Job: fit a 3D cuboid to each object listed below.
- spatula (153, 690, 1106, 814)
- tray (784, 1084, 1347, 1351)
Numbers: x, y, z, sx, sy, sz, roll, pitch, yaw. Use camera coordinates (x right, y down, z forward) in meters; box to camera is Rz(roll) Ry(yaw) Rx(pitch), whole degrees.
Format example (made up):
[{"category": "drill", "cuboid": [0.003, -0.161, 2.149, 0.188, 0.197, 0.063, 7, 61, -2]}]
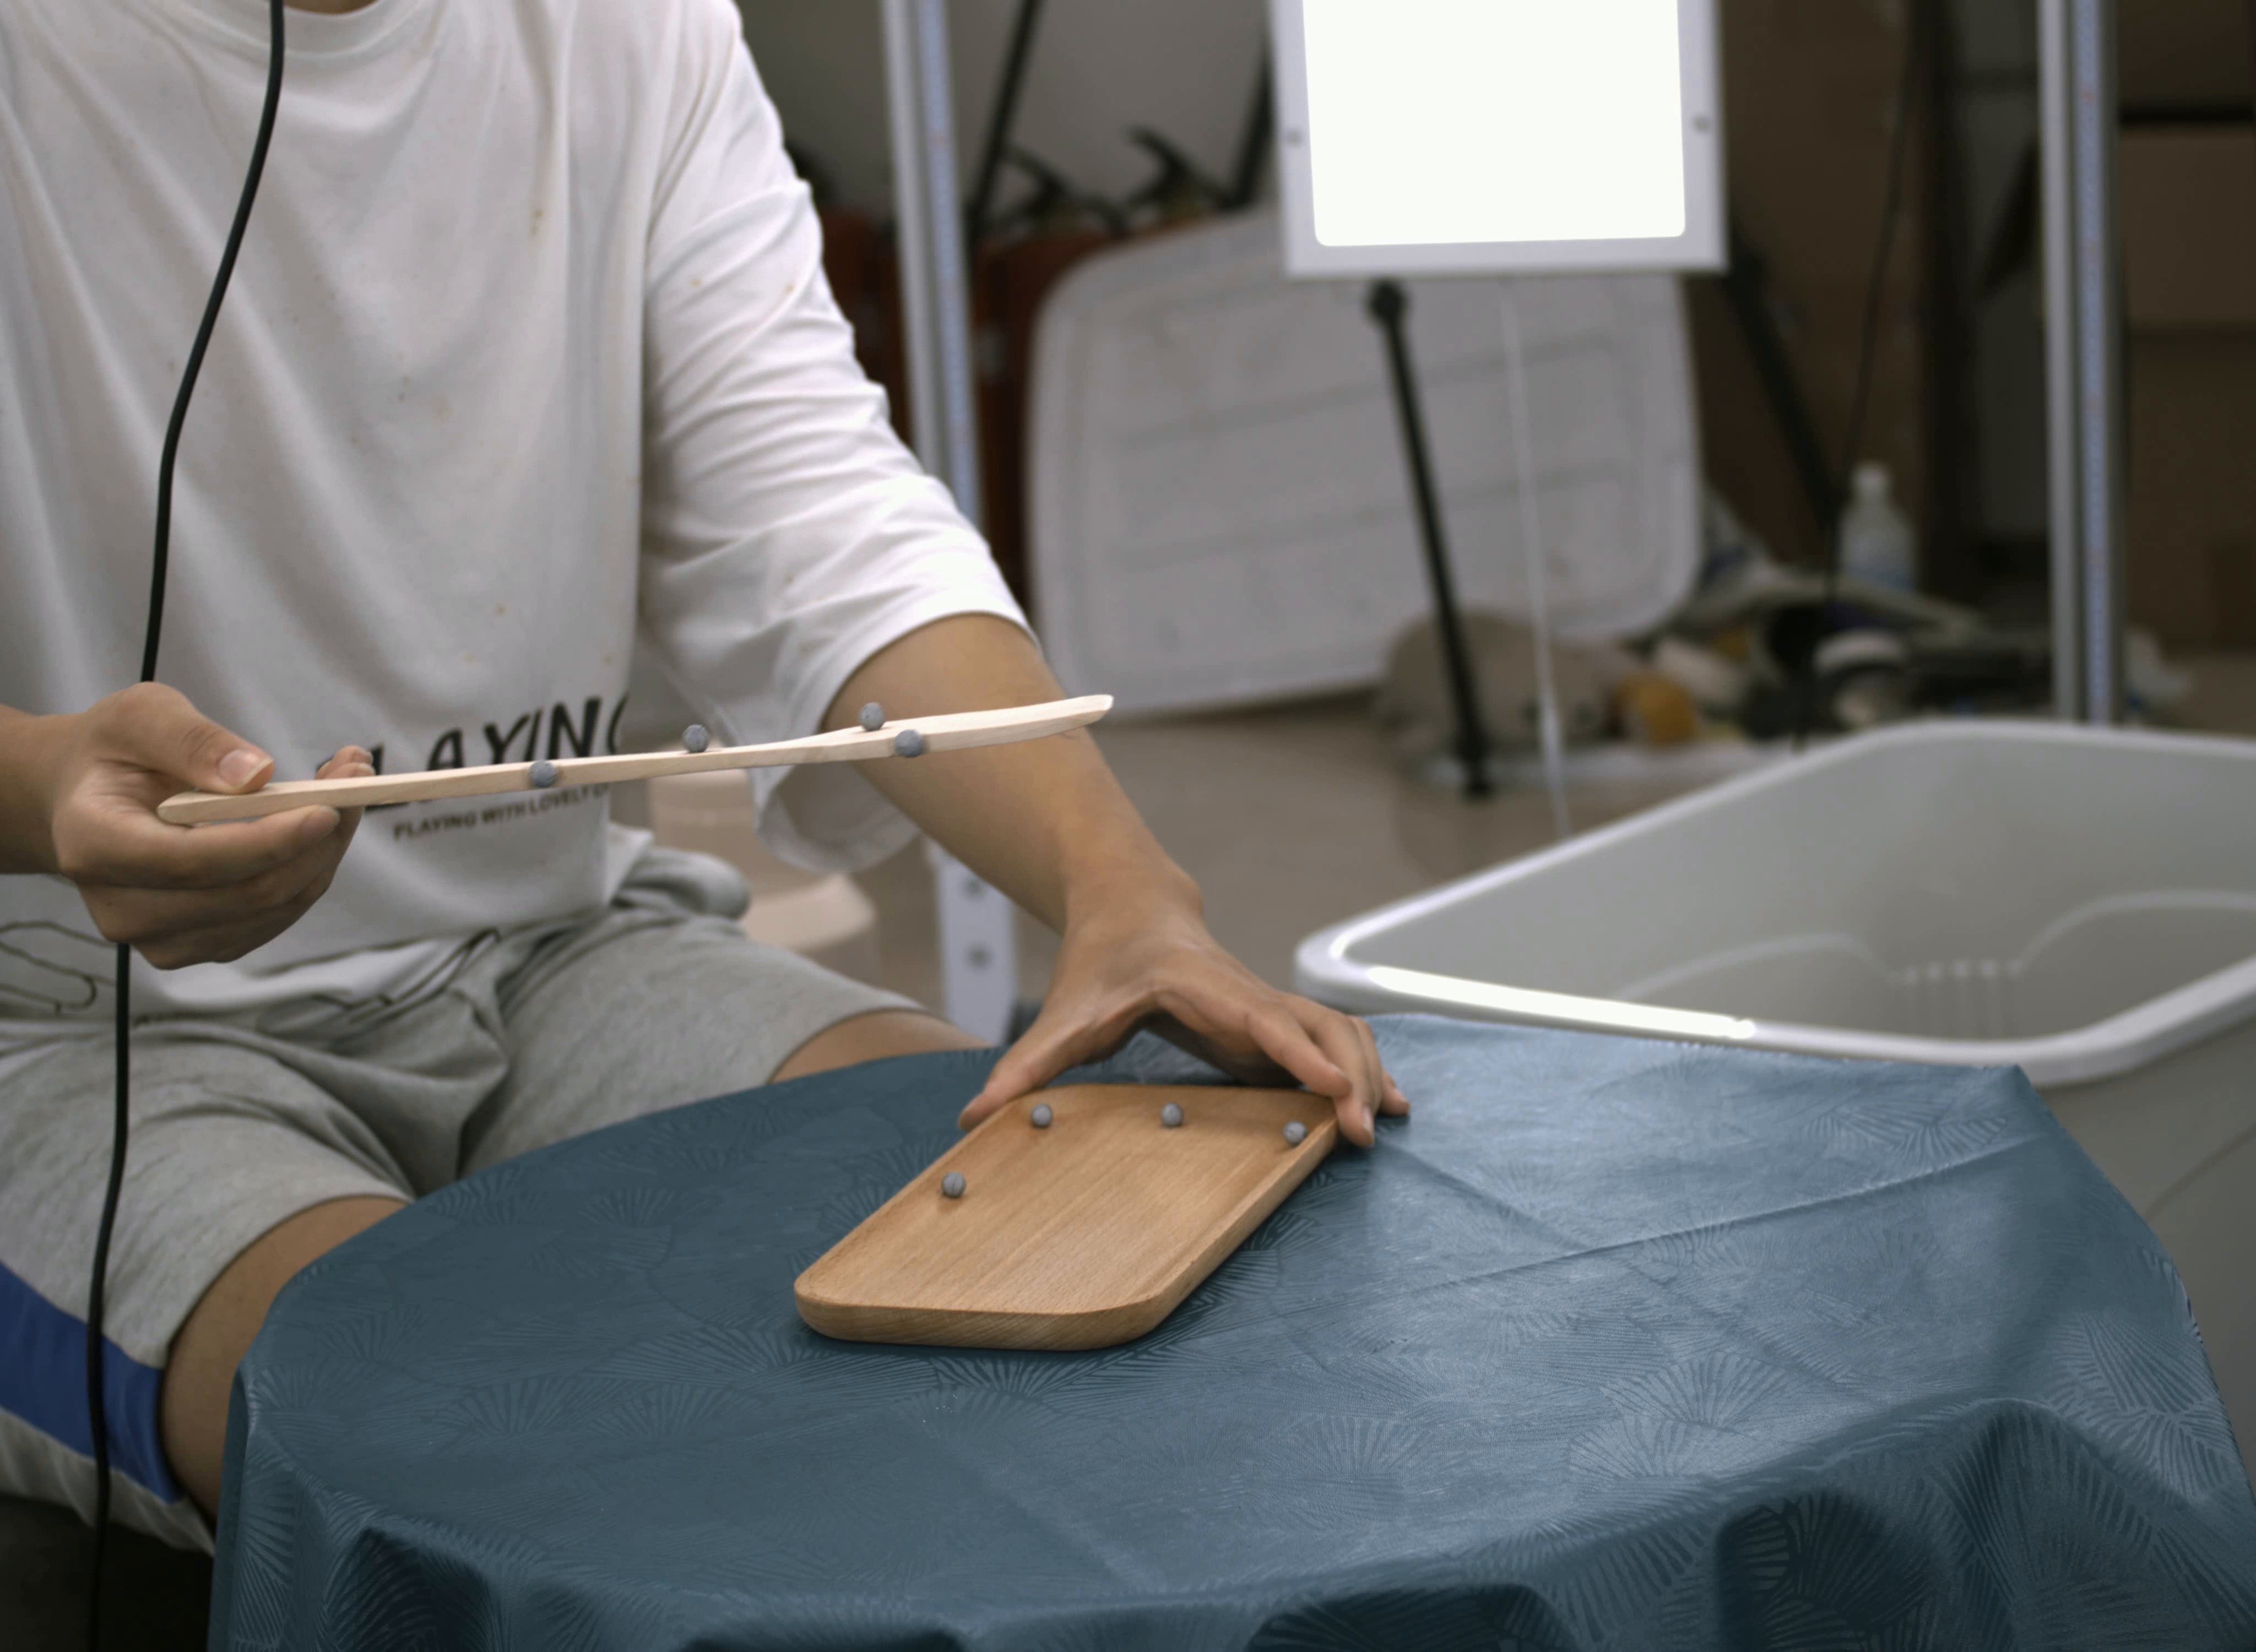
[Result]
[{"category": "spatula", "cuboid": [-0.152, -0.021, 1.678, 0.293, 0.011, 0.072, -6, 6, 3]}, {"category": "tray", "cuboid": [-0.017, 0.130, 1.859, 0.132, 0.023, 0.246, -2, 14, 23]}]
